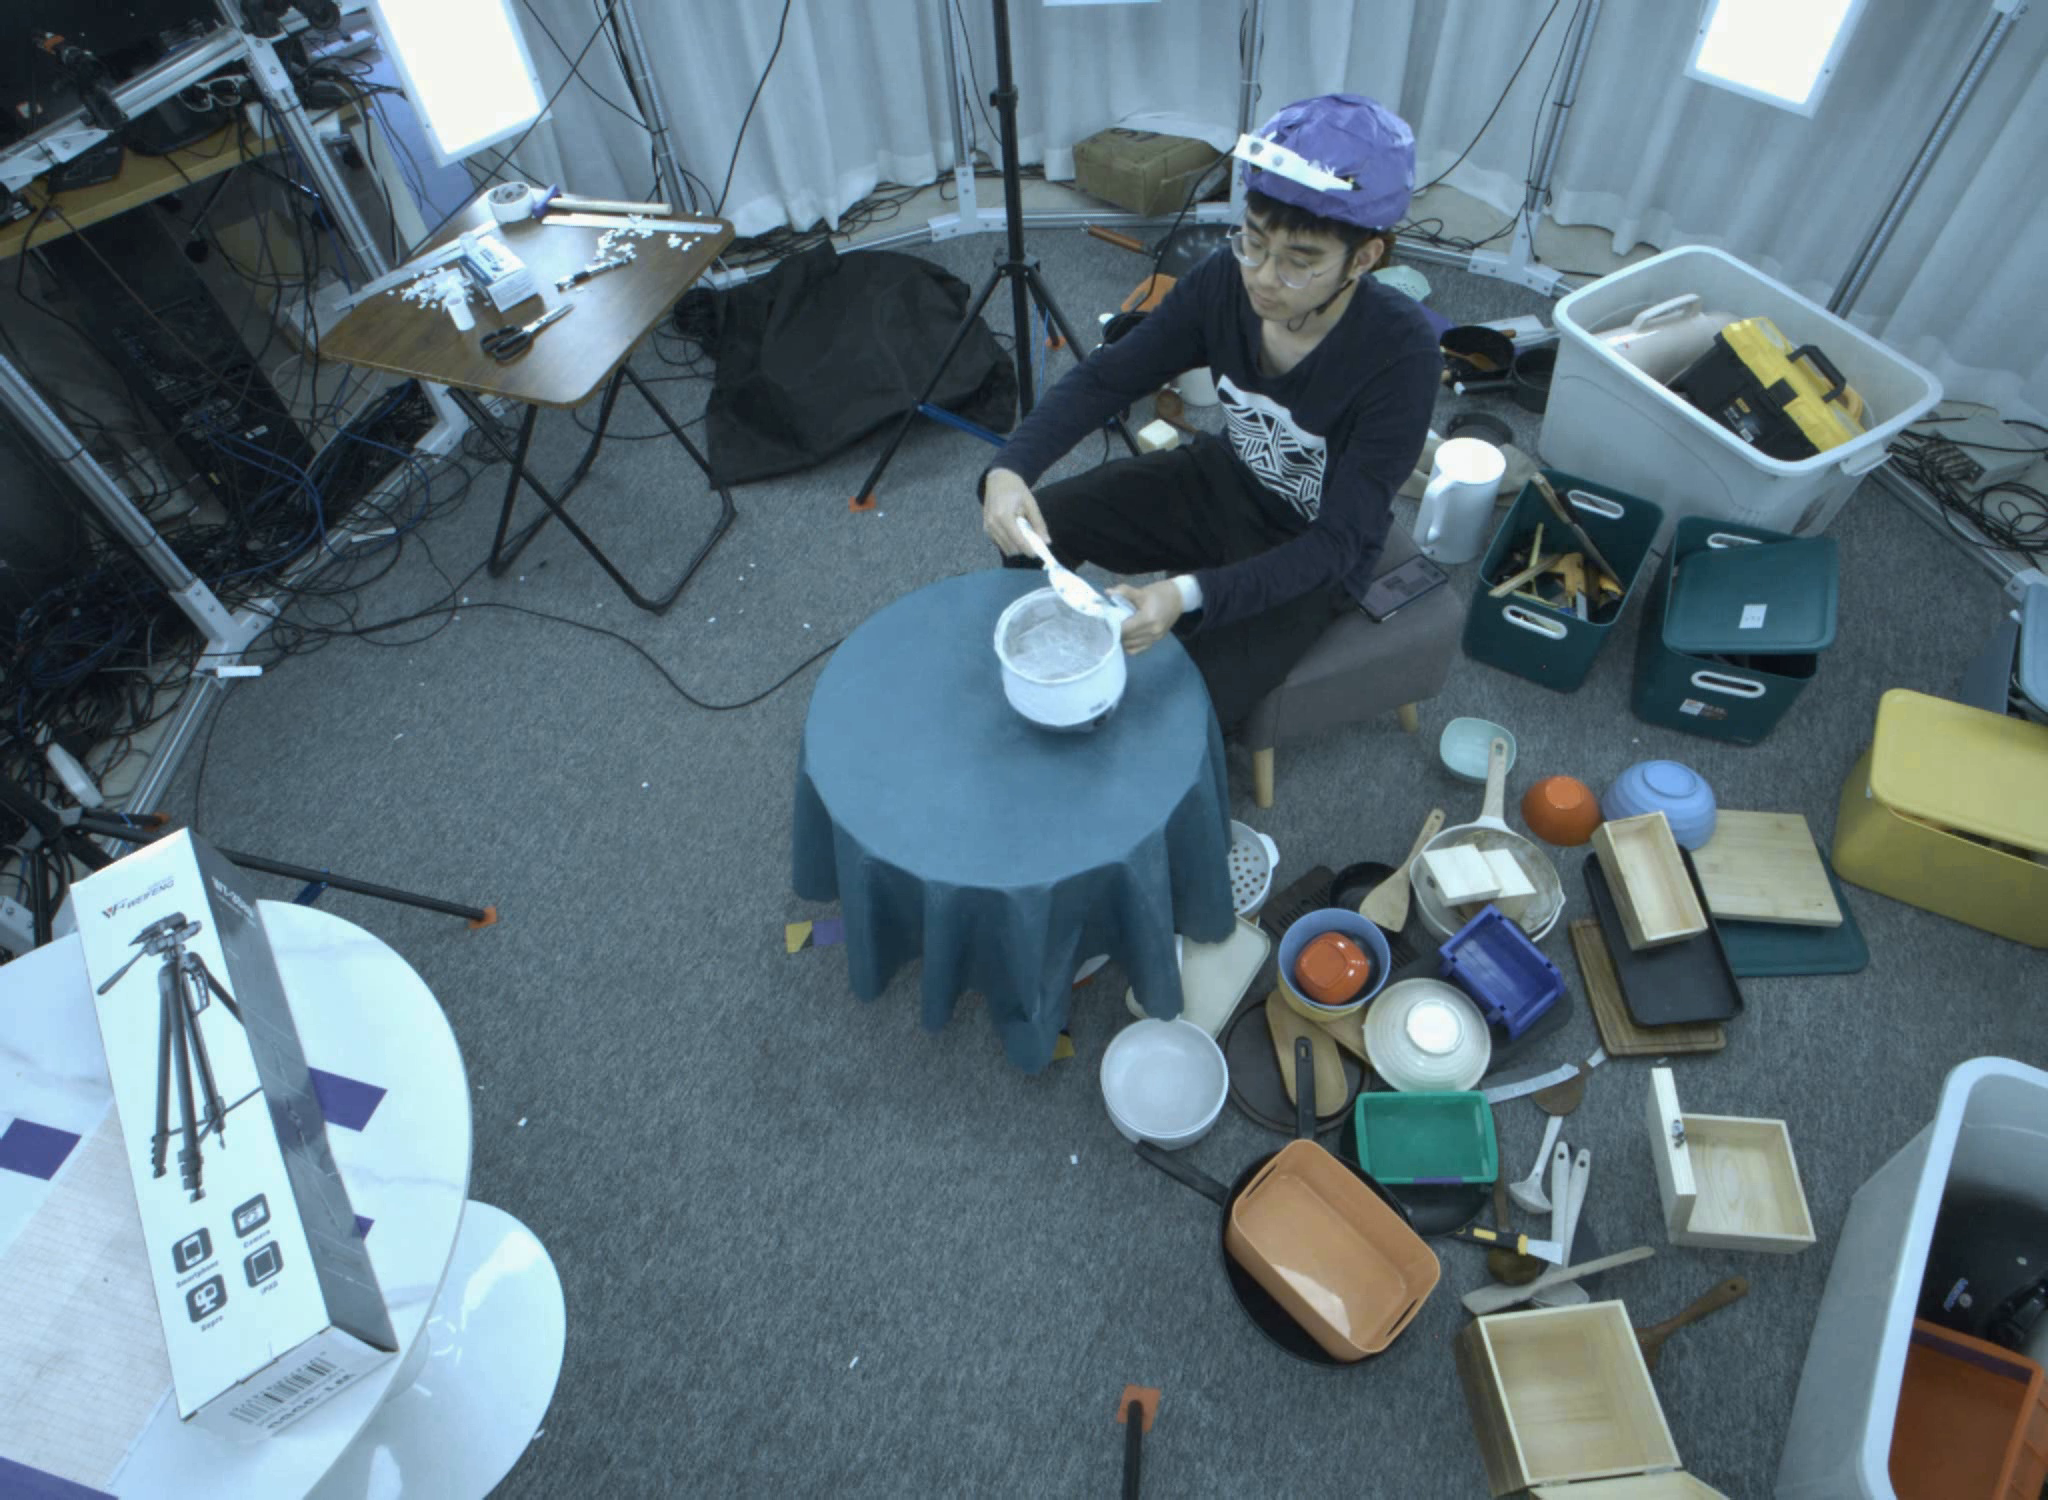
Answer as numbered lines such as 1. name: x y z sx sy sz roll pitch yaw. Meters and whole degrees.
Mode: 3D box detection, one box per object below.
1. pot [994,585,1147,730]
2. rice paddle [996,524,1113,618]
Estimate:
1. pot: 0.075 -0.143 1.767 0.235 0.138 0.175 -34 61 -15
2. rice paddle: 0.045 -0.248 1.726 0.203 0.029 0.069 40 30 13
